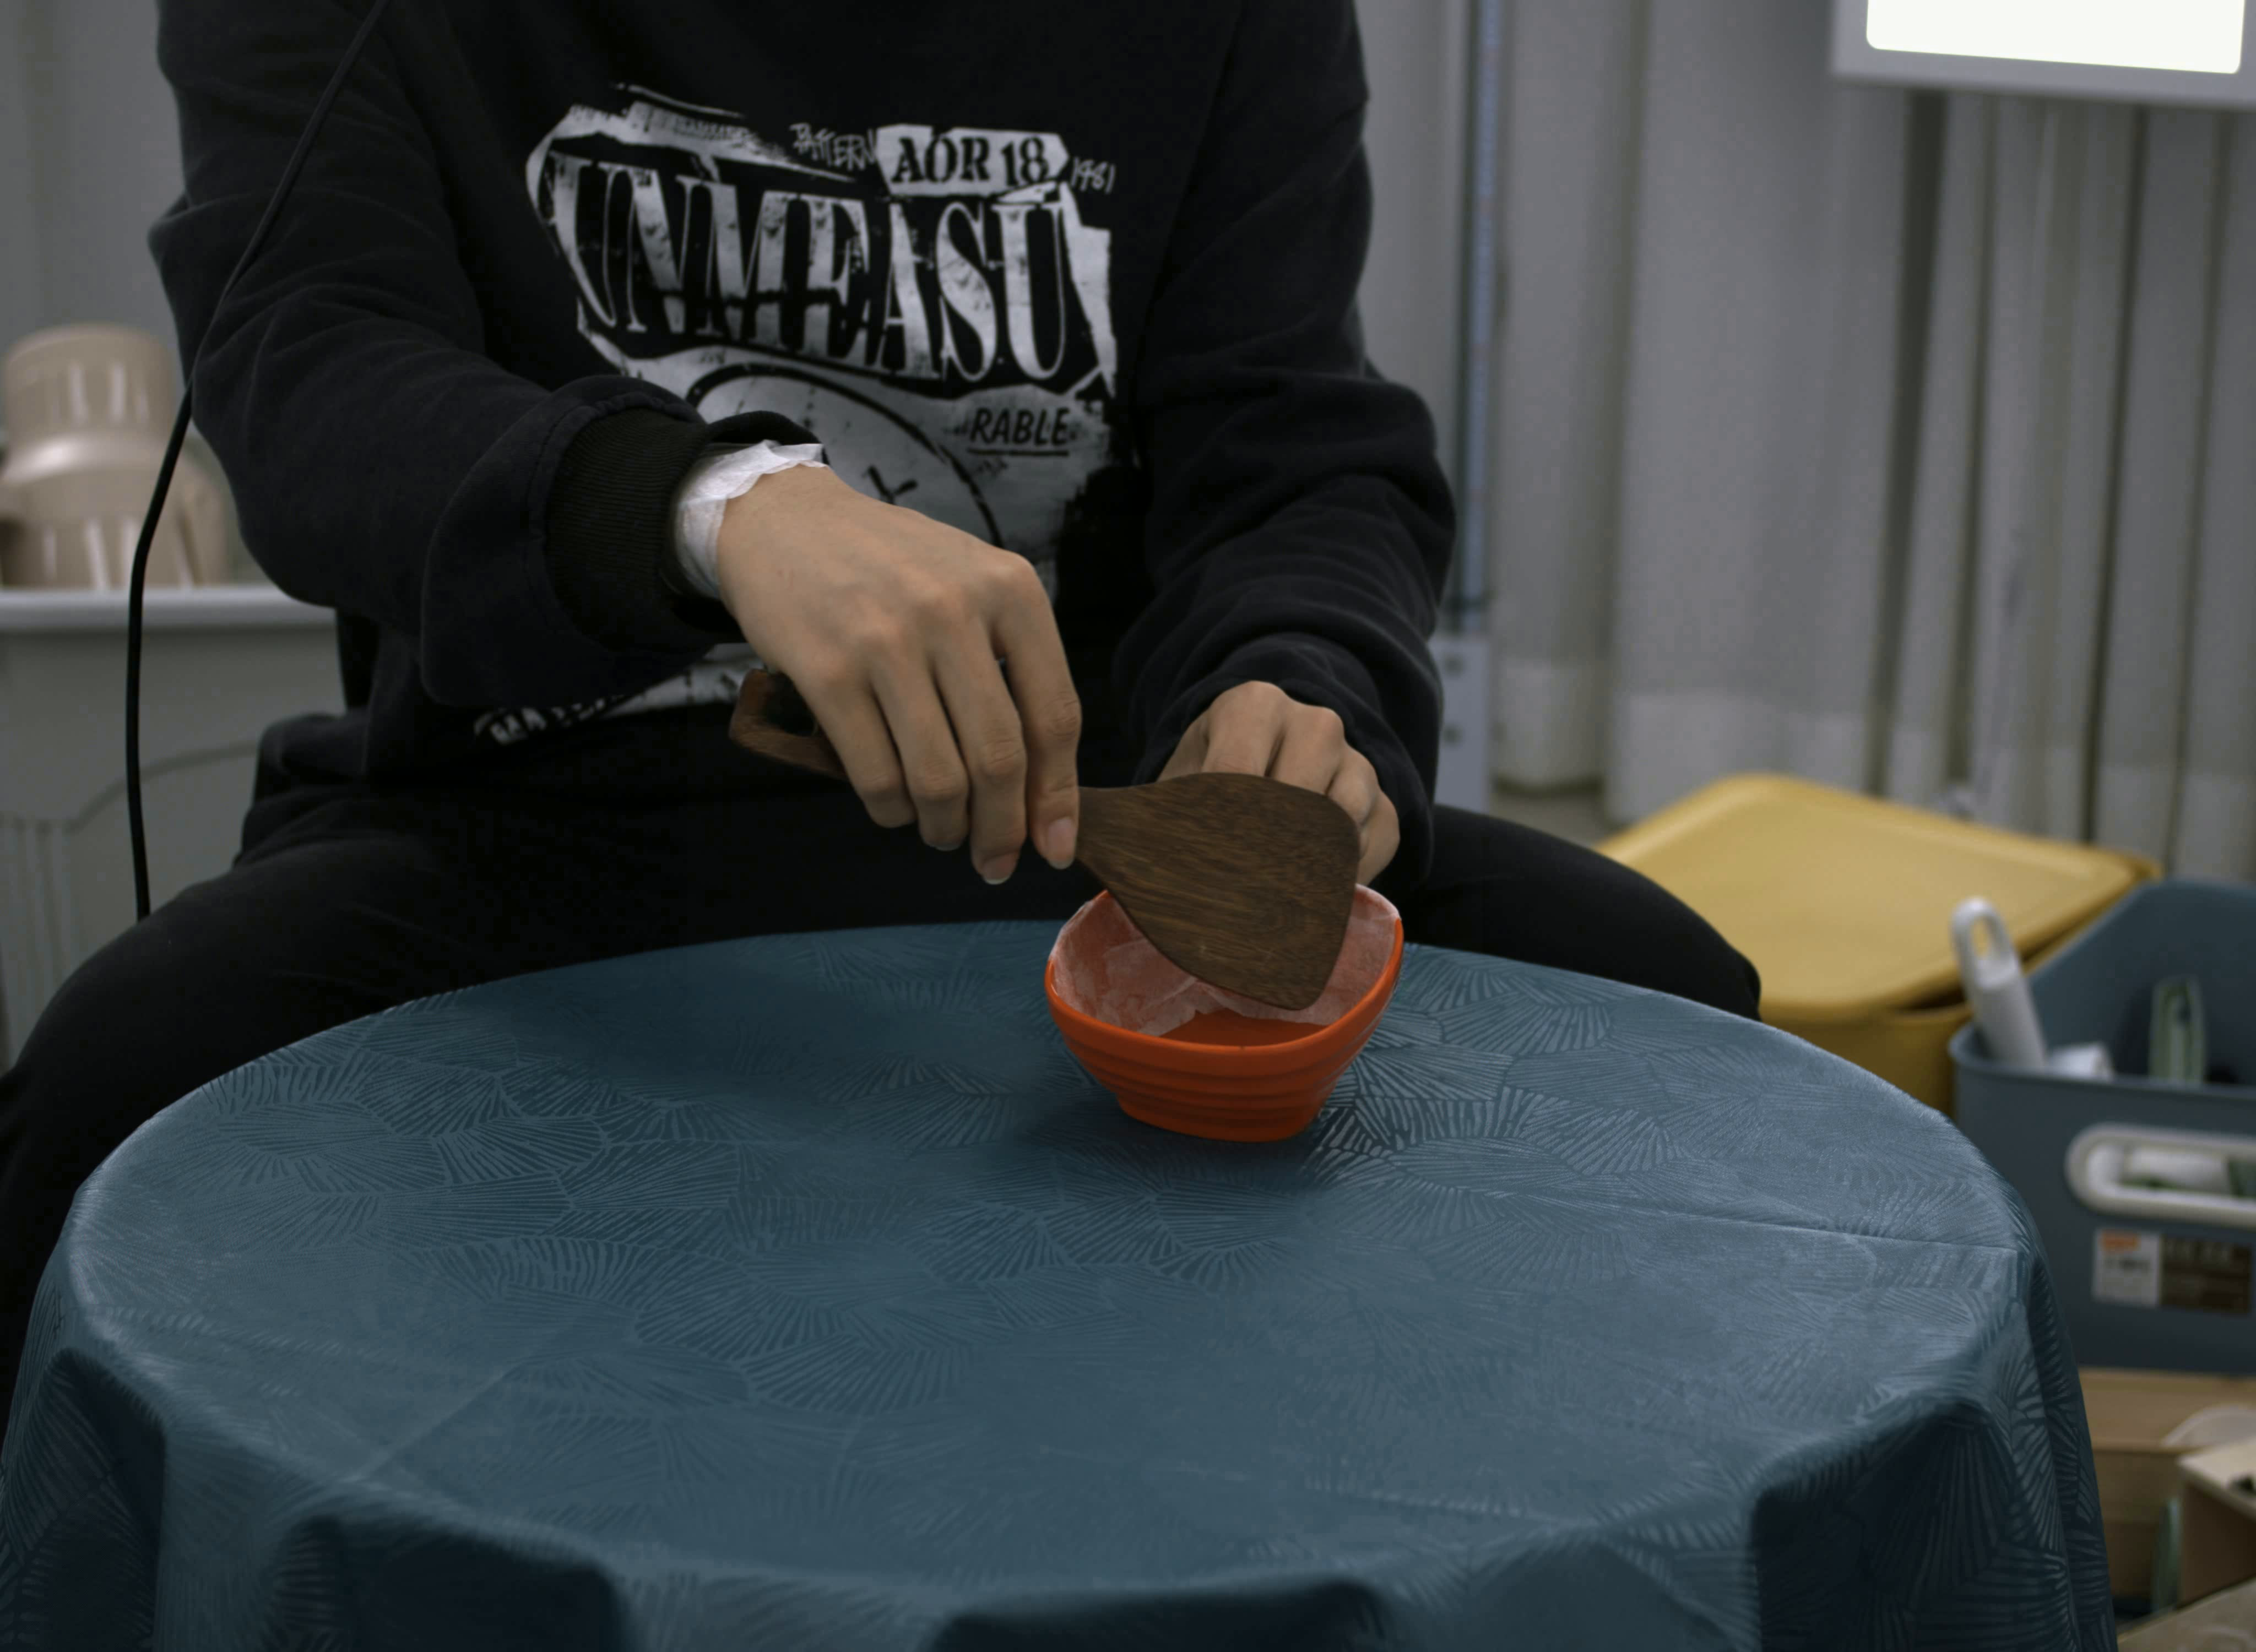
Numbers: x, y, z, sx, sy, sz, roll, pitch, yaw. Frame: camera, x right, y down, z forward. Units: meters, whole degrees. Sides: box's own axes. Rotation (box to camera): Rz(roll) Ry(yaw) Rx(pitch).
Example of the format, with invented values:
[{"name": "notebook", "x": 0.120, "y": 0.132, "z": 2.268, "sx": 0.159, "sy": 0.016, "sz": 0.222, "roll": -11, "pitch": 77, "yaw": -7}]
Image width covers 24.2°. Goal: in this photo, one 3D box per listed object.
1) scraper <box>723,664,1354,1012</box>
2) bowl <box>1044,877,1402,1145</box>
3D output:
[{"name": "scraper", "x": -0.028, "y": -0.006, "z": 1.669, "sx": 0.212, "sy": 0.076, "sz": 0.011, "roll": 20, "pitch": -17, "yaw": -15}, {"name": "bowl", "x": 0.032, "y": 0.062, "z": 1.690, "sx": 0.118, "sy": 0.052, "sz": 0.118, "roll": -3, "pitch": 33, "yaw": 2}]
